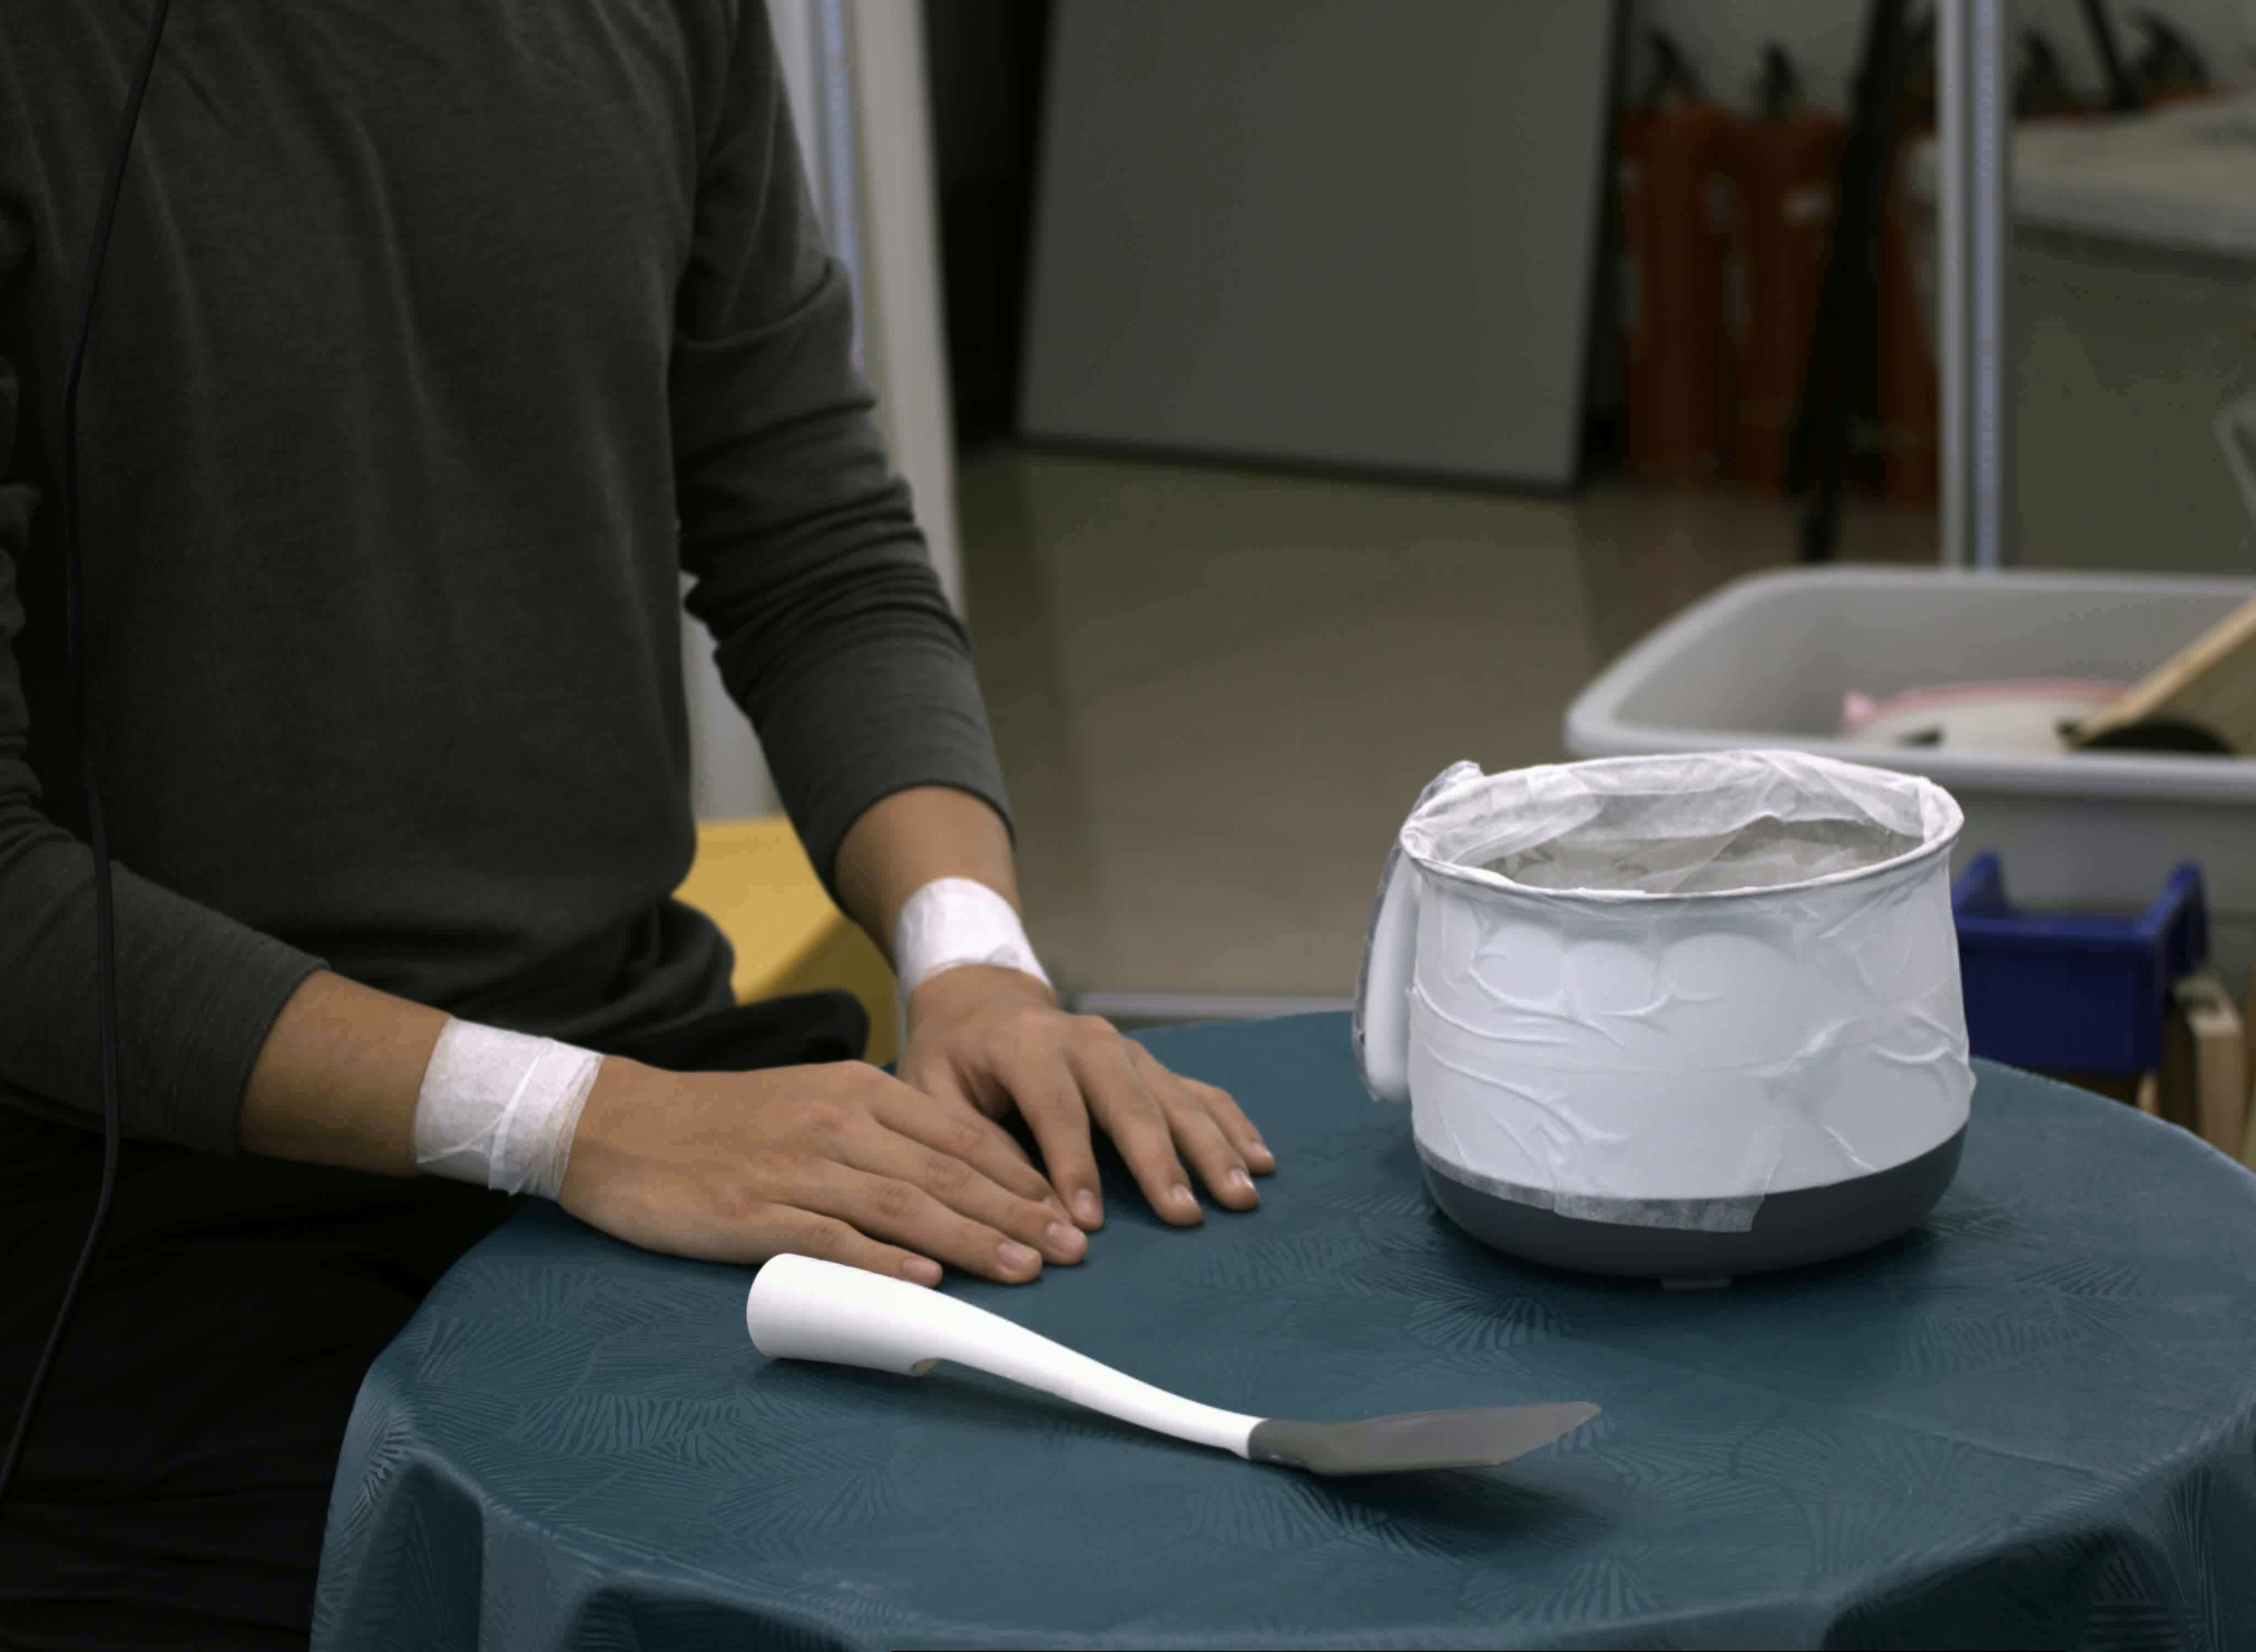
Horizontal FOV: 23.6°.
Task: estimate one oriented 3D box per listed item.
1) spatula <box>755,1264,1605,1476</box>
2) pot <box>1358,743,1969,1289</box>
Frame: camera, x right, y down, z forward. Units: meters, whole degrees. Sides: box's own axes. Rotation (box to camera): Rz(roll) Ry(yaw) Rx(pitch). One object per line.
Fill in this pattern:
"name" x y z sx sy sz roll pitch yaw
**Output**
"spatula" 0.009 0.160 1.543 0.290 0.032 0.057 6 13 39
"pot" 0.158 0.054 1.712 0.175 0.138 0.236 -14 17 -38
